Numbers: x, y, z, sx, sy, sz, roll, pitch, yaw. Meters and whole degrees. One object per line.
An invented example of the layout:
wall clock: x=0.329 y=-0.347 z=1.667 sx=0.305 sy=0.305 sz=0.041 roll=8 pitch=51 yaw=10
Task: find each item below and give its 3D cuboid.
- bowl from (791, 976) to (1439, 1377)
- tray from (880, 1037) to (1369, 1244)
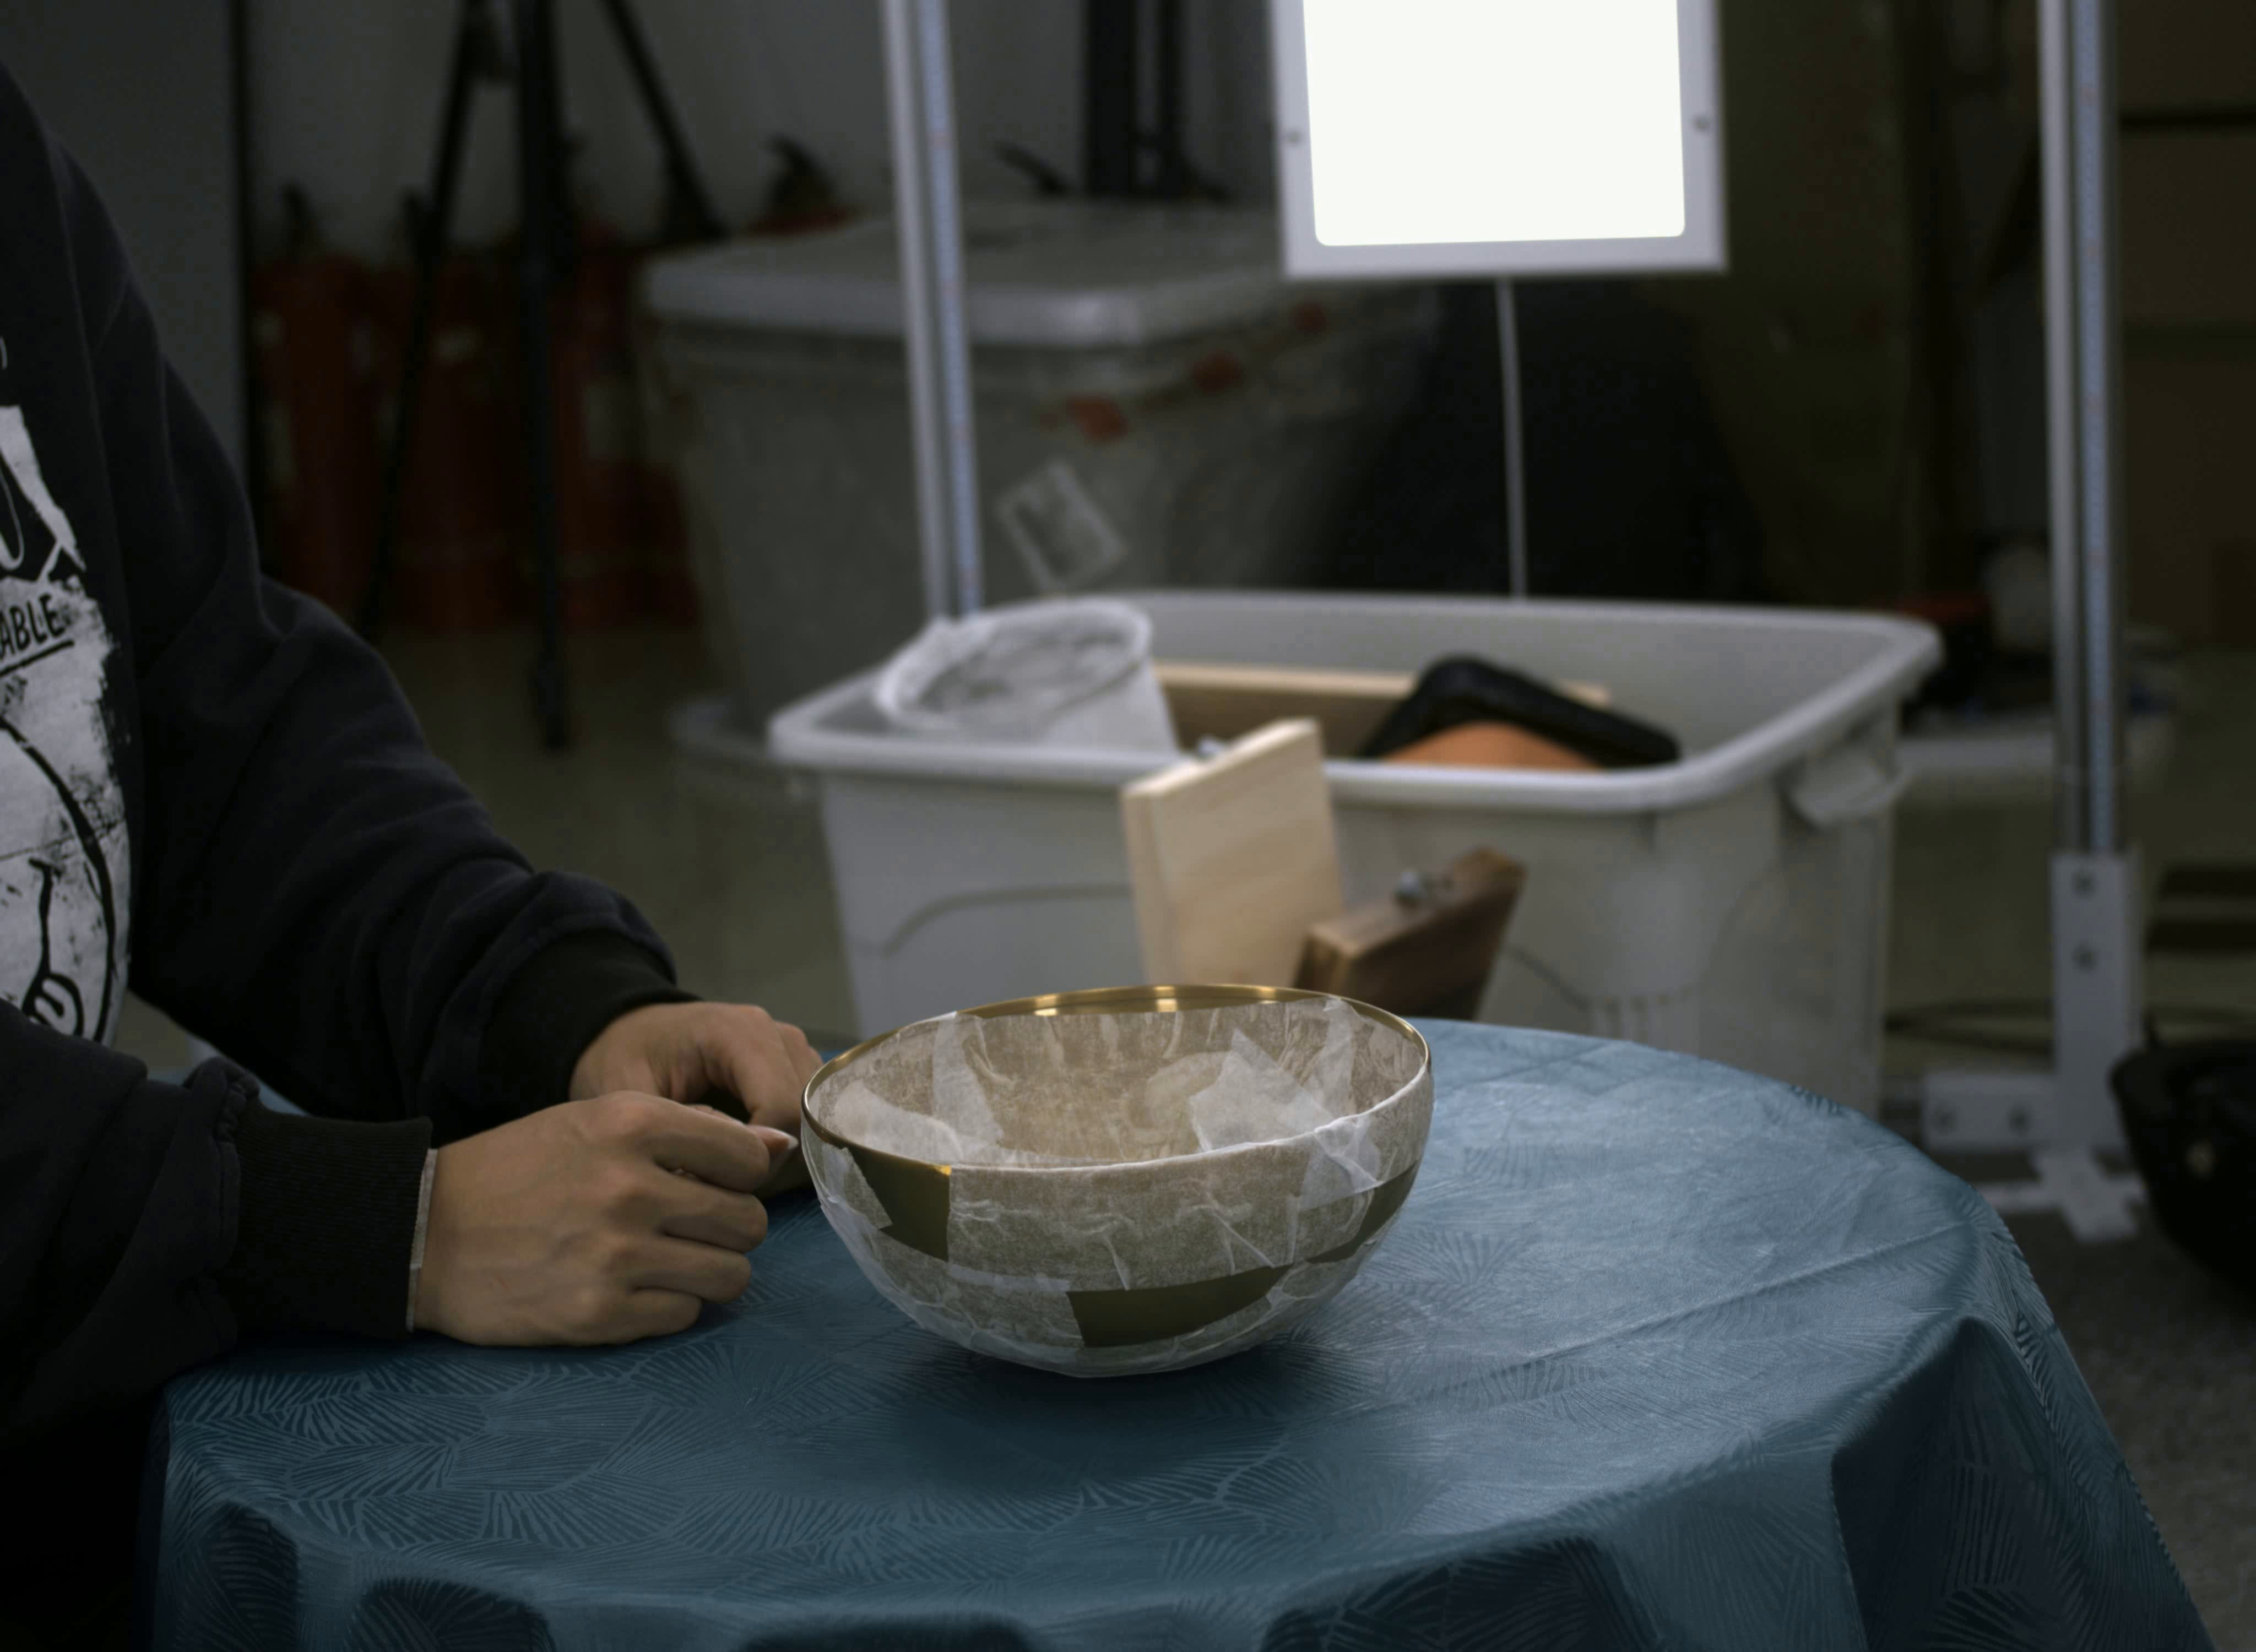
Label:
bowl: x=0.000 y=0.118 z=1.739 sx=0.214 sy=0.095 sz=0.214 roll=-6 pitch=14 yaw=0
tray: x=-0.003 y=0.109 z=1.938 sx=0.099 sy=0.020 sz=0.235 roll=-16 pitch=19 yaw=-30
